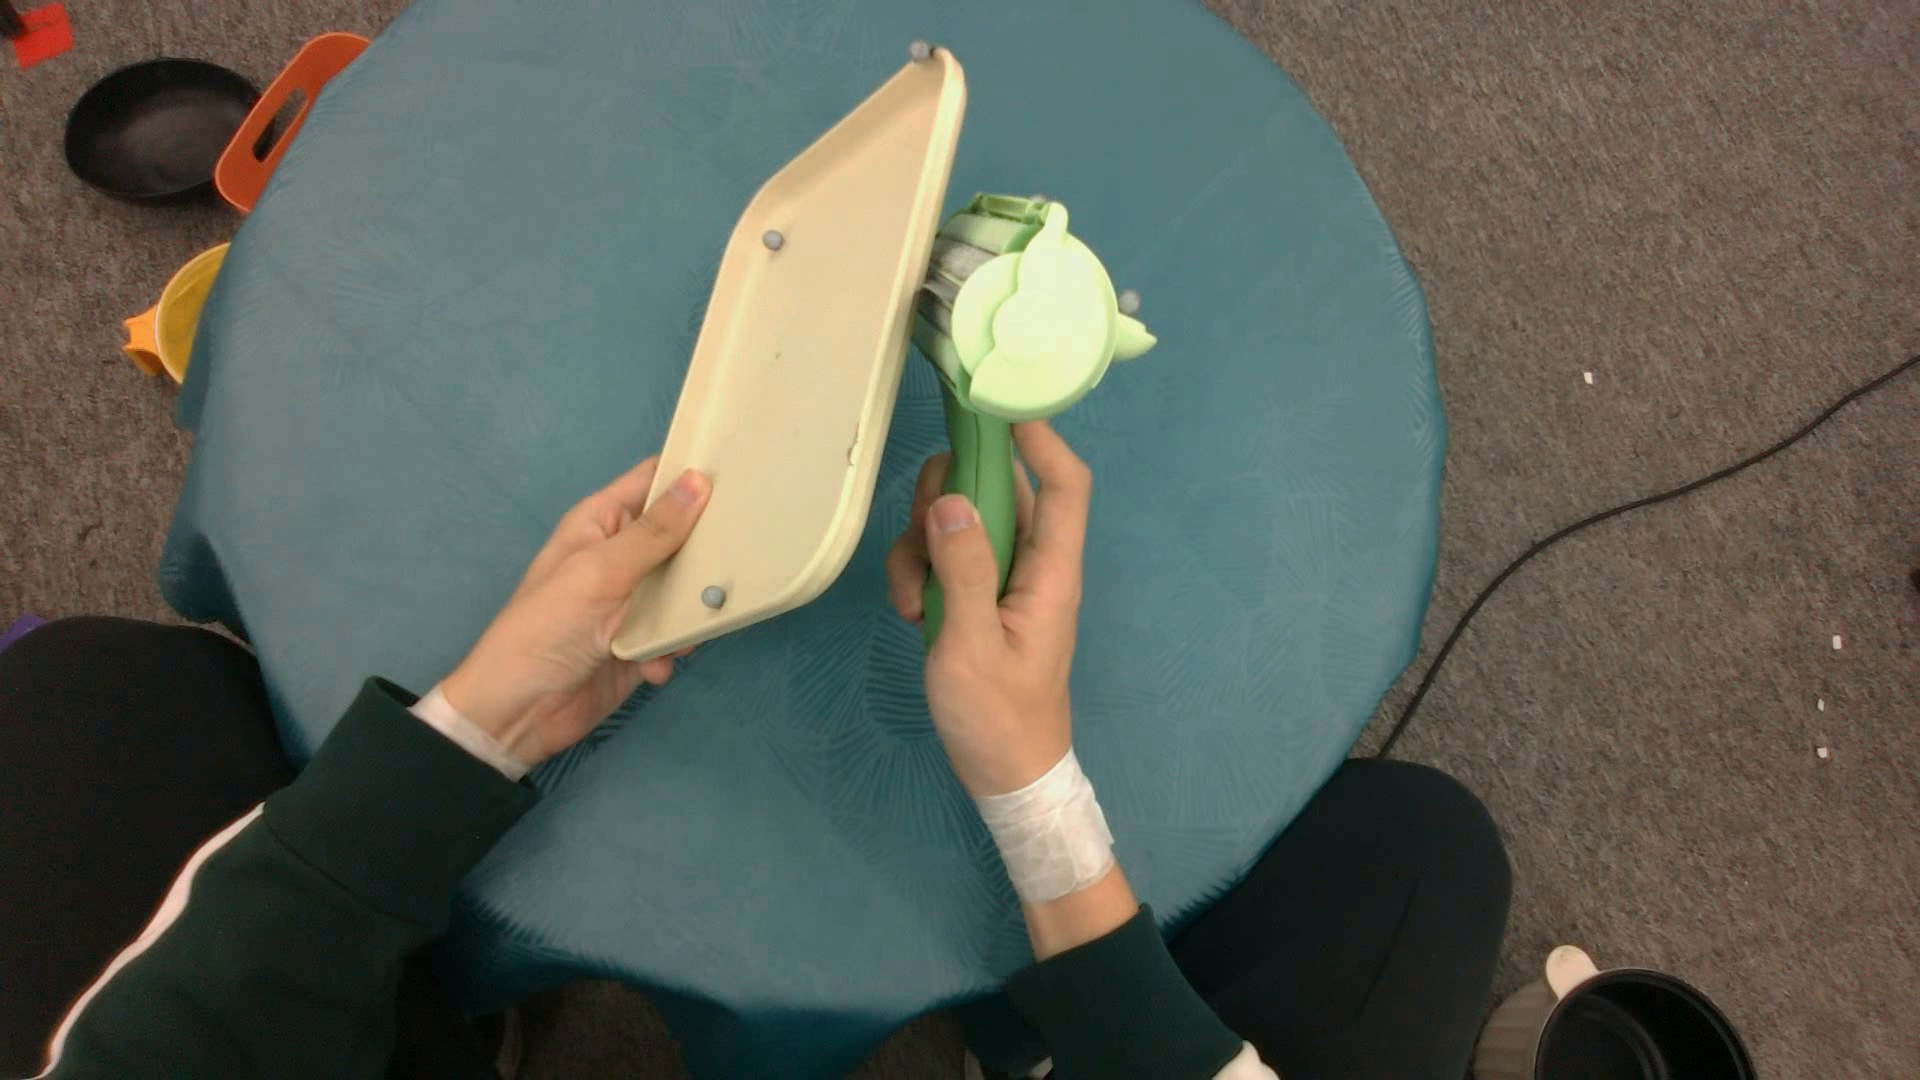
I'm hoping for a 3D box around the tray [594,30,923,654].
[{"bbox_3d":[-0.078,-0.076,0.542,0.017,0.170,0.240,25,60,-32],"label":"tray"}]

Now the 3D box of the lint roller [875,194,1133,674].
[{"bbox_3d":[0.013,-0.039,0.531,0.082,0.199,0.183,-8,105,-9],"label":"lint roller"}]
